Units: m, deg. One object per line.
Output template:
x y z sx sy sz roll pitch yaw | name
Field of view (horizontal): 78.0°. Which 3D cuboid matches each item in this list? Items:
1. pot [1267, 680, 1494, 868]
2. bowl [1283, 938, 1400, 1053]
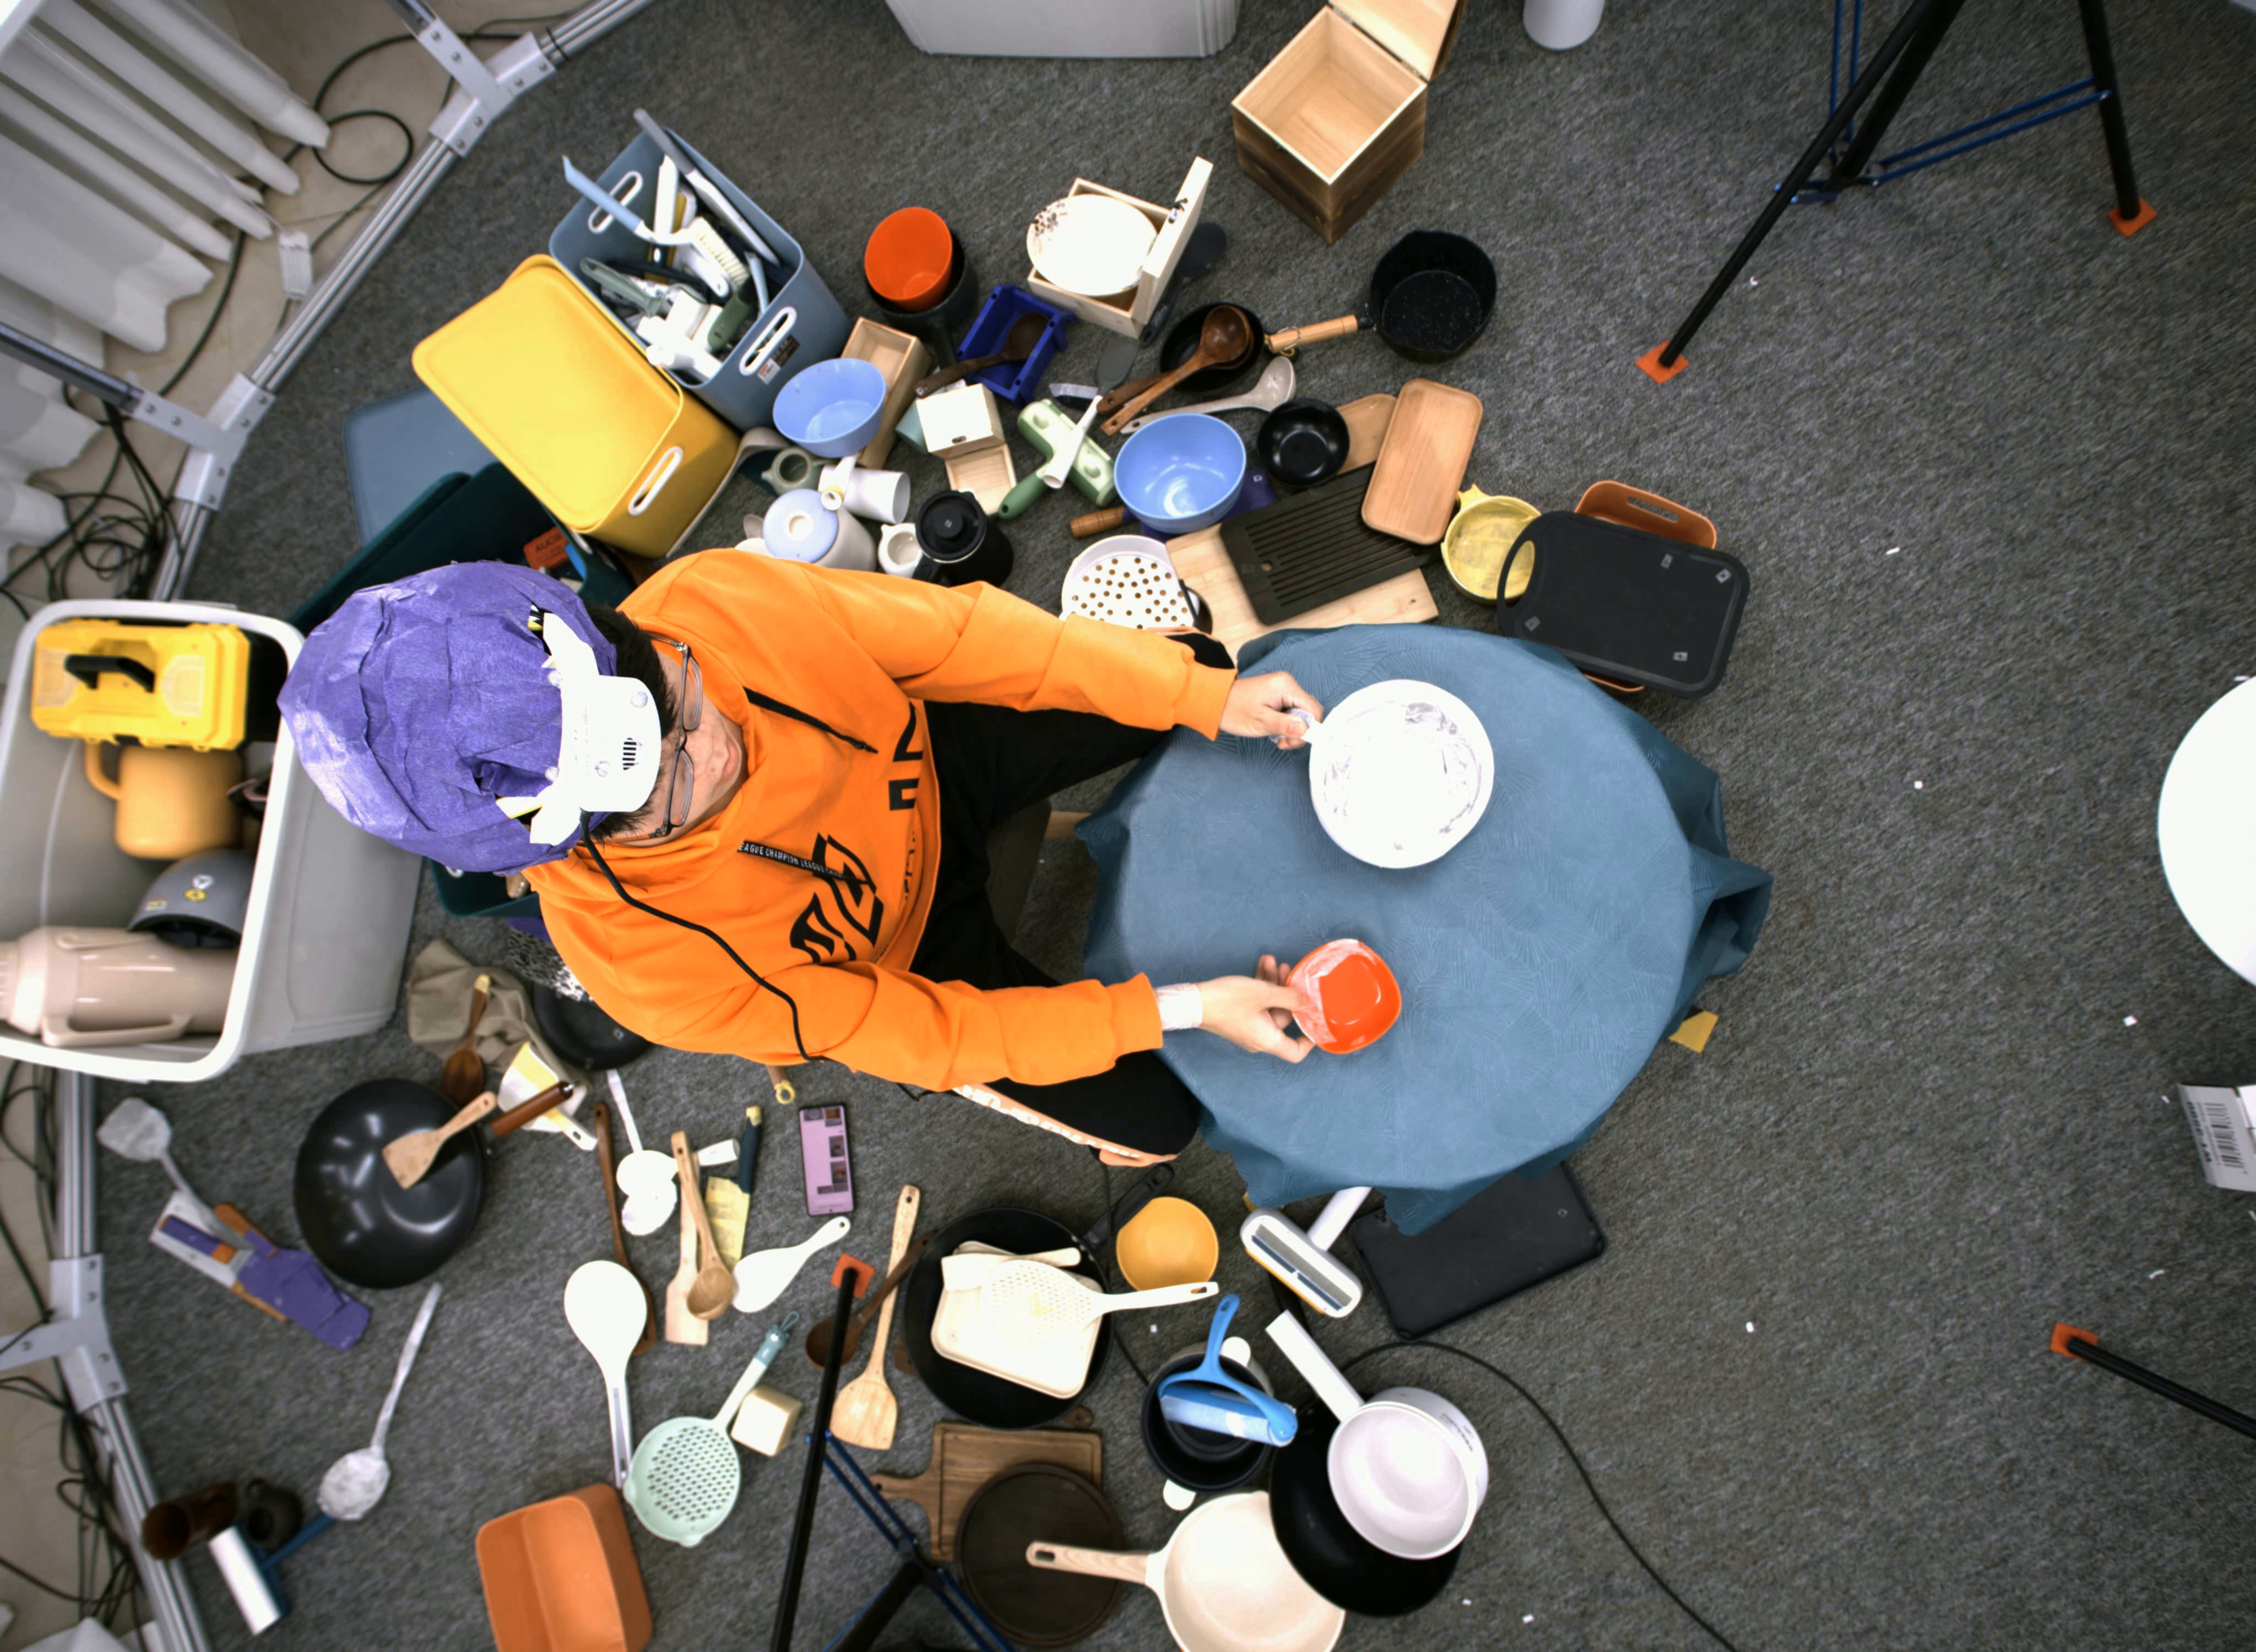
0.248 -0.062 1.399 0.233 0.137 0.178 26 89 10 | pot
0.222 0.171 1.433 0.119 0.051 0.119 1 95 13 | bowl
